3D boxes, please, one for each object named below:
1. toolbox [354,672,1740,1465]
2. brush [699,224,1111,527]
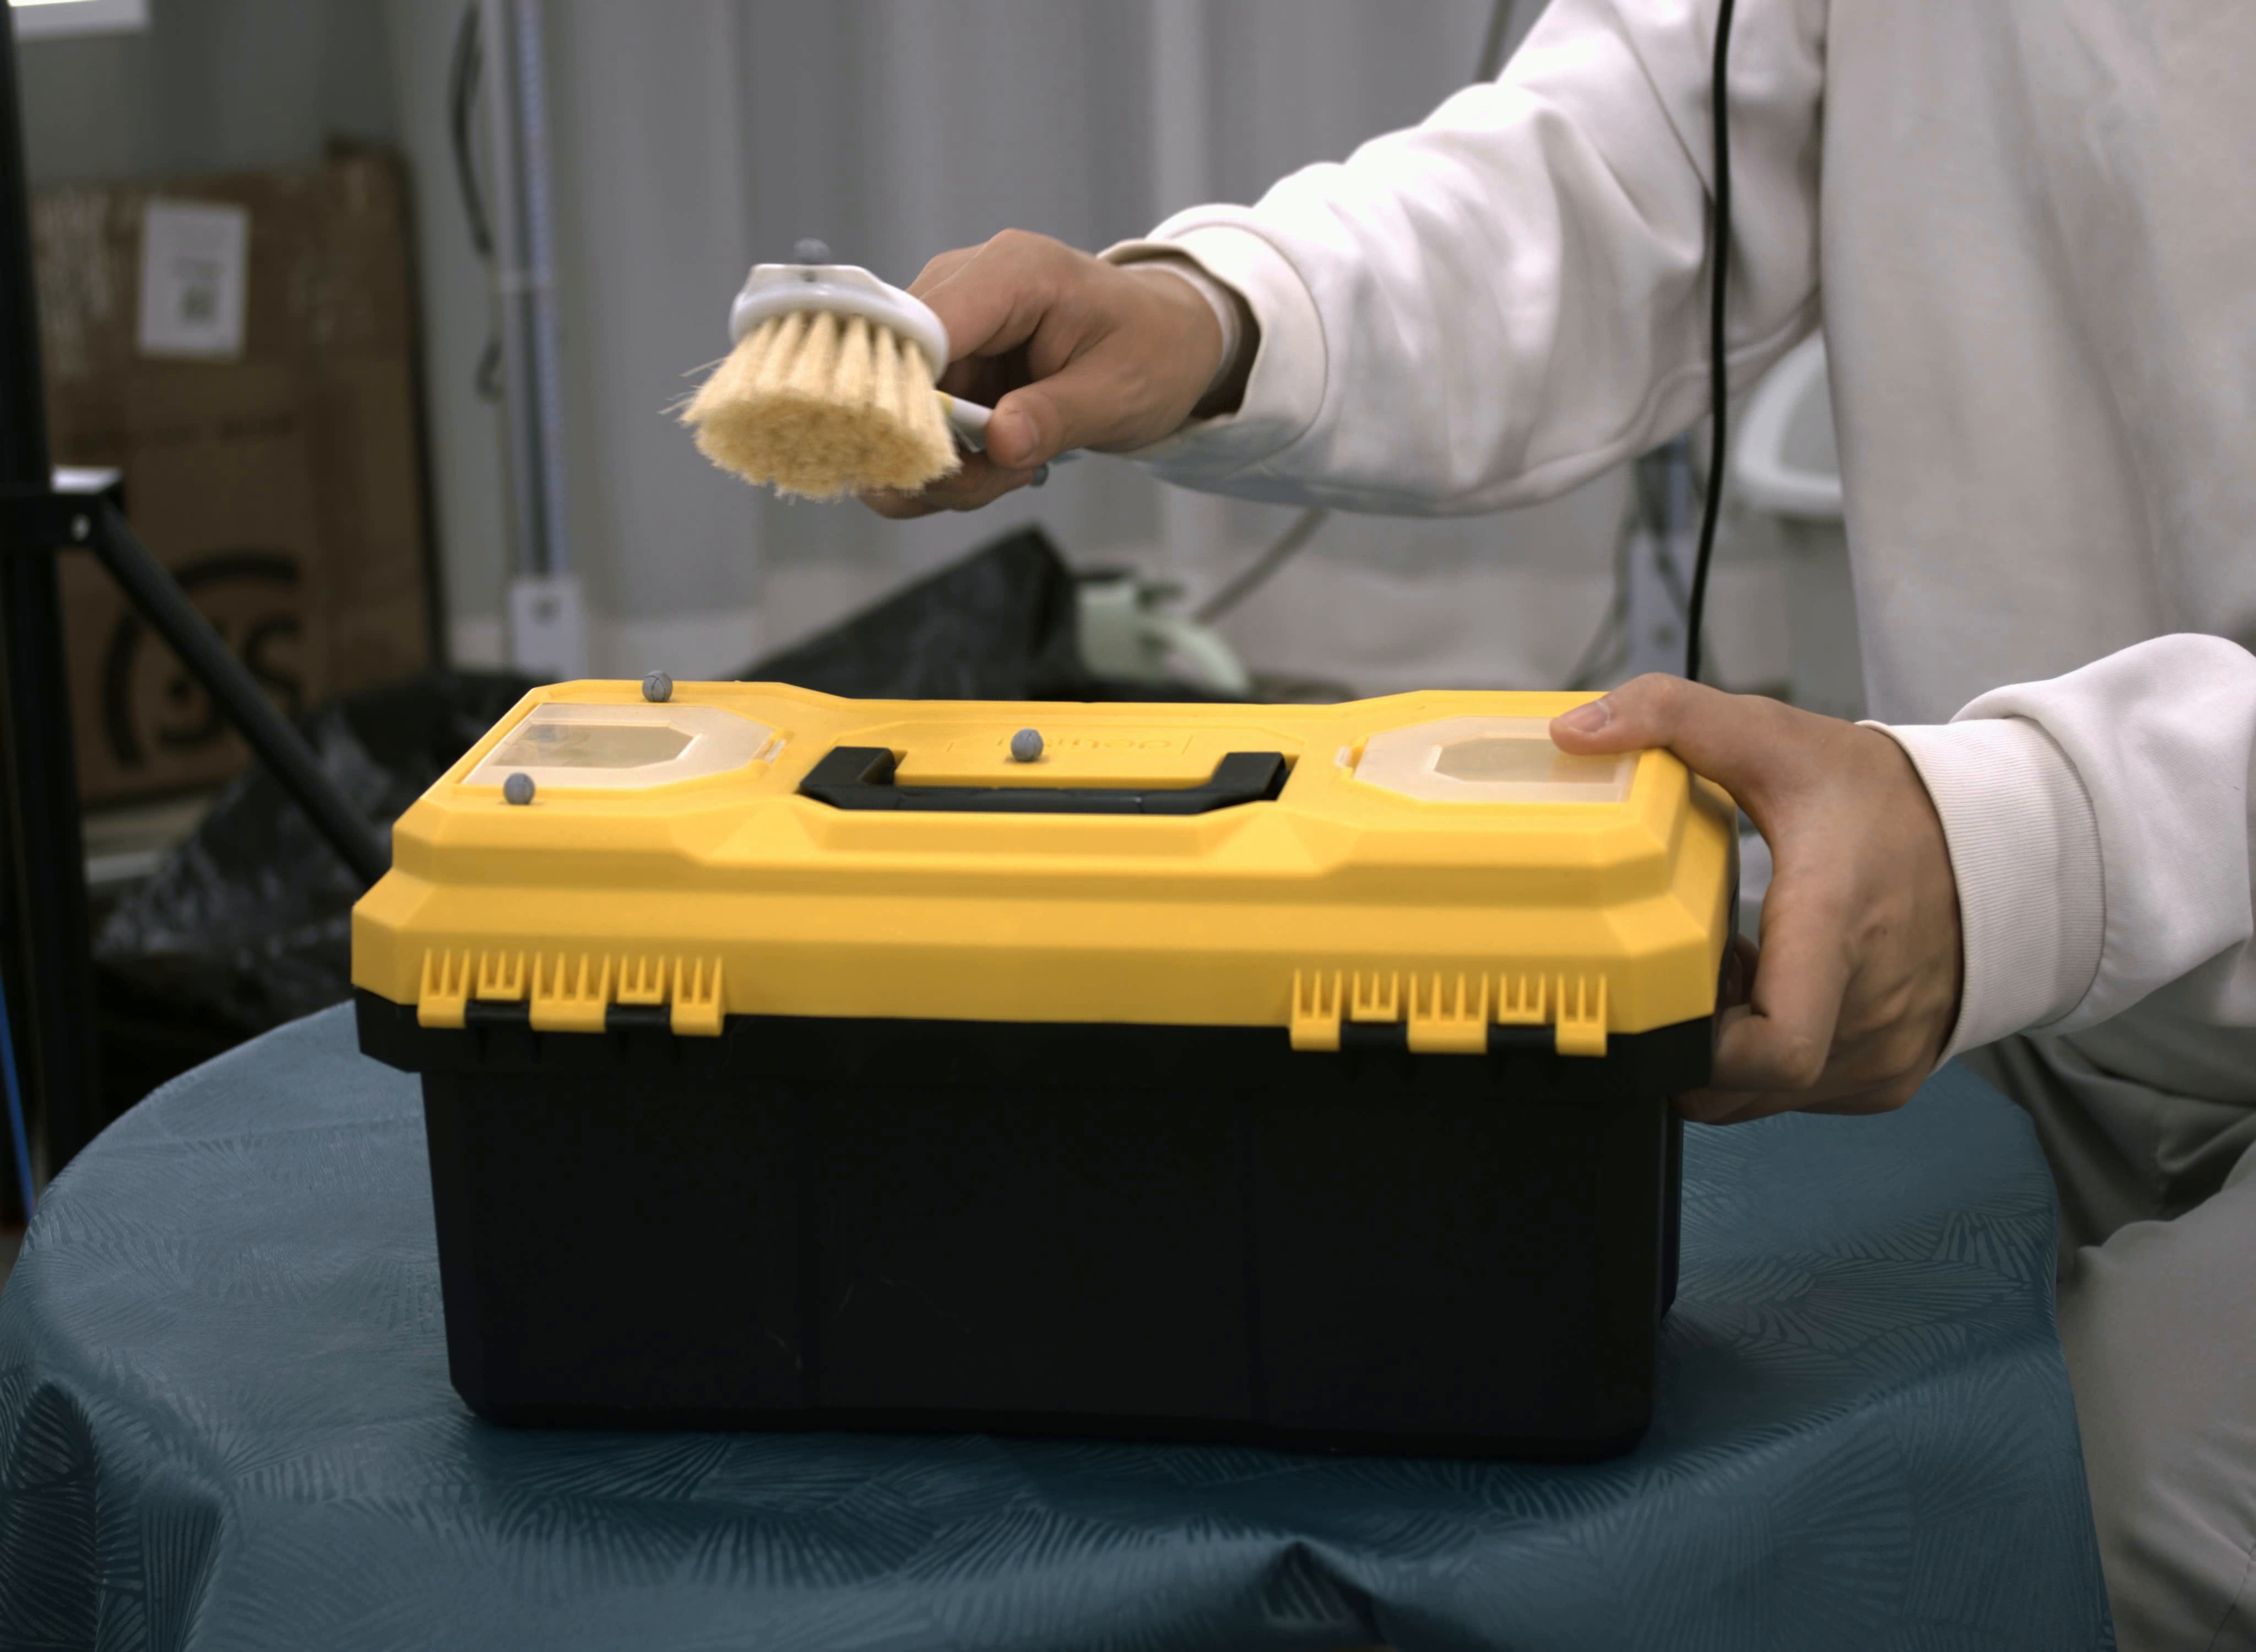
[{"bbox_3d":[-0.016,0.061,1.411,0.353,0.173,0.180,1,17,11],"label":"toolbox"},{"bbox_3d":[-0.053,-0.104,1.537,0.069,0.056,0.262,16,-8,17],"label":"brush"}]
